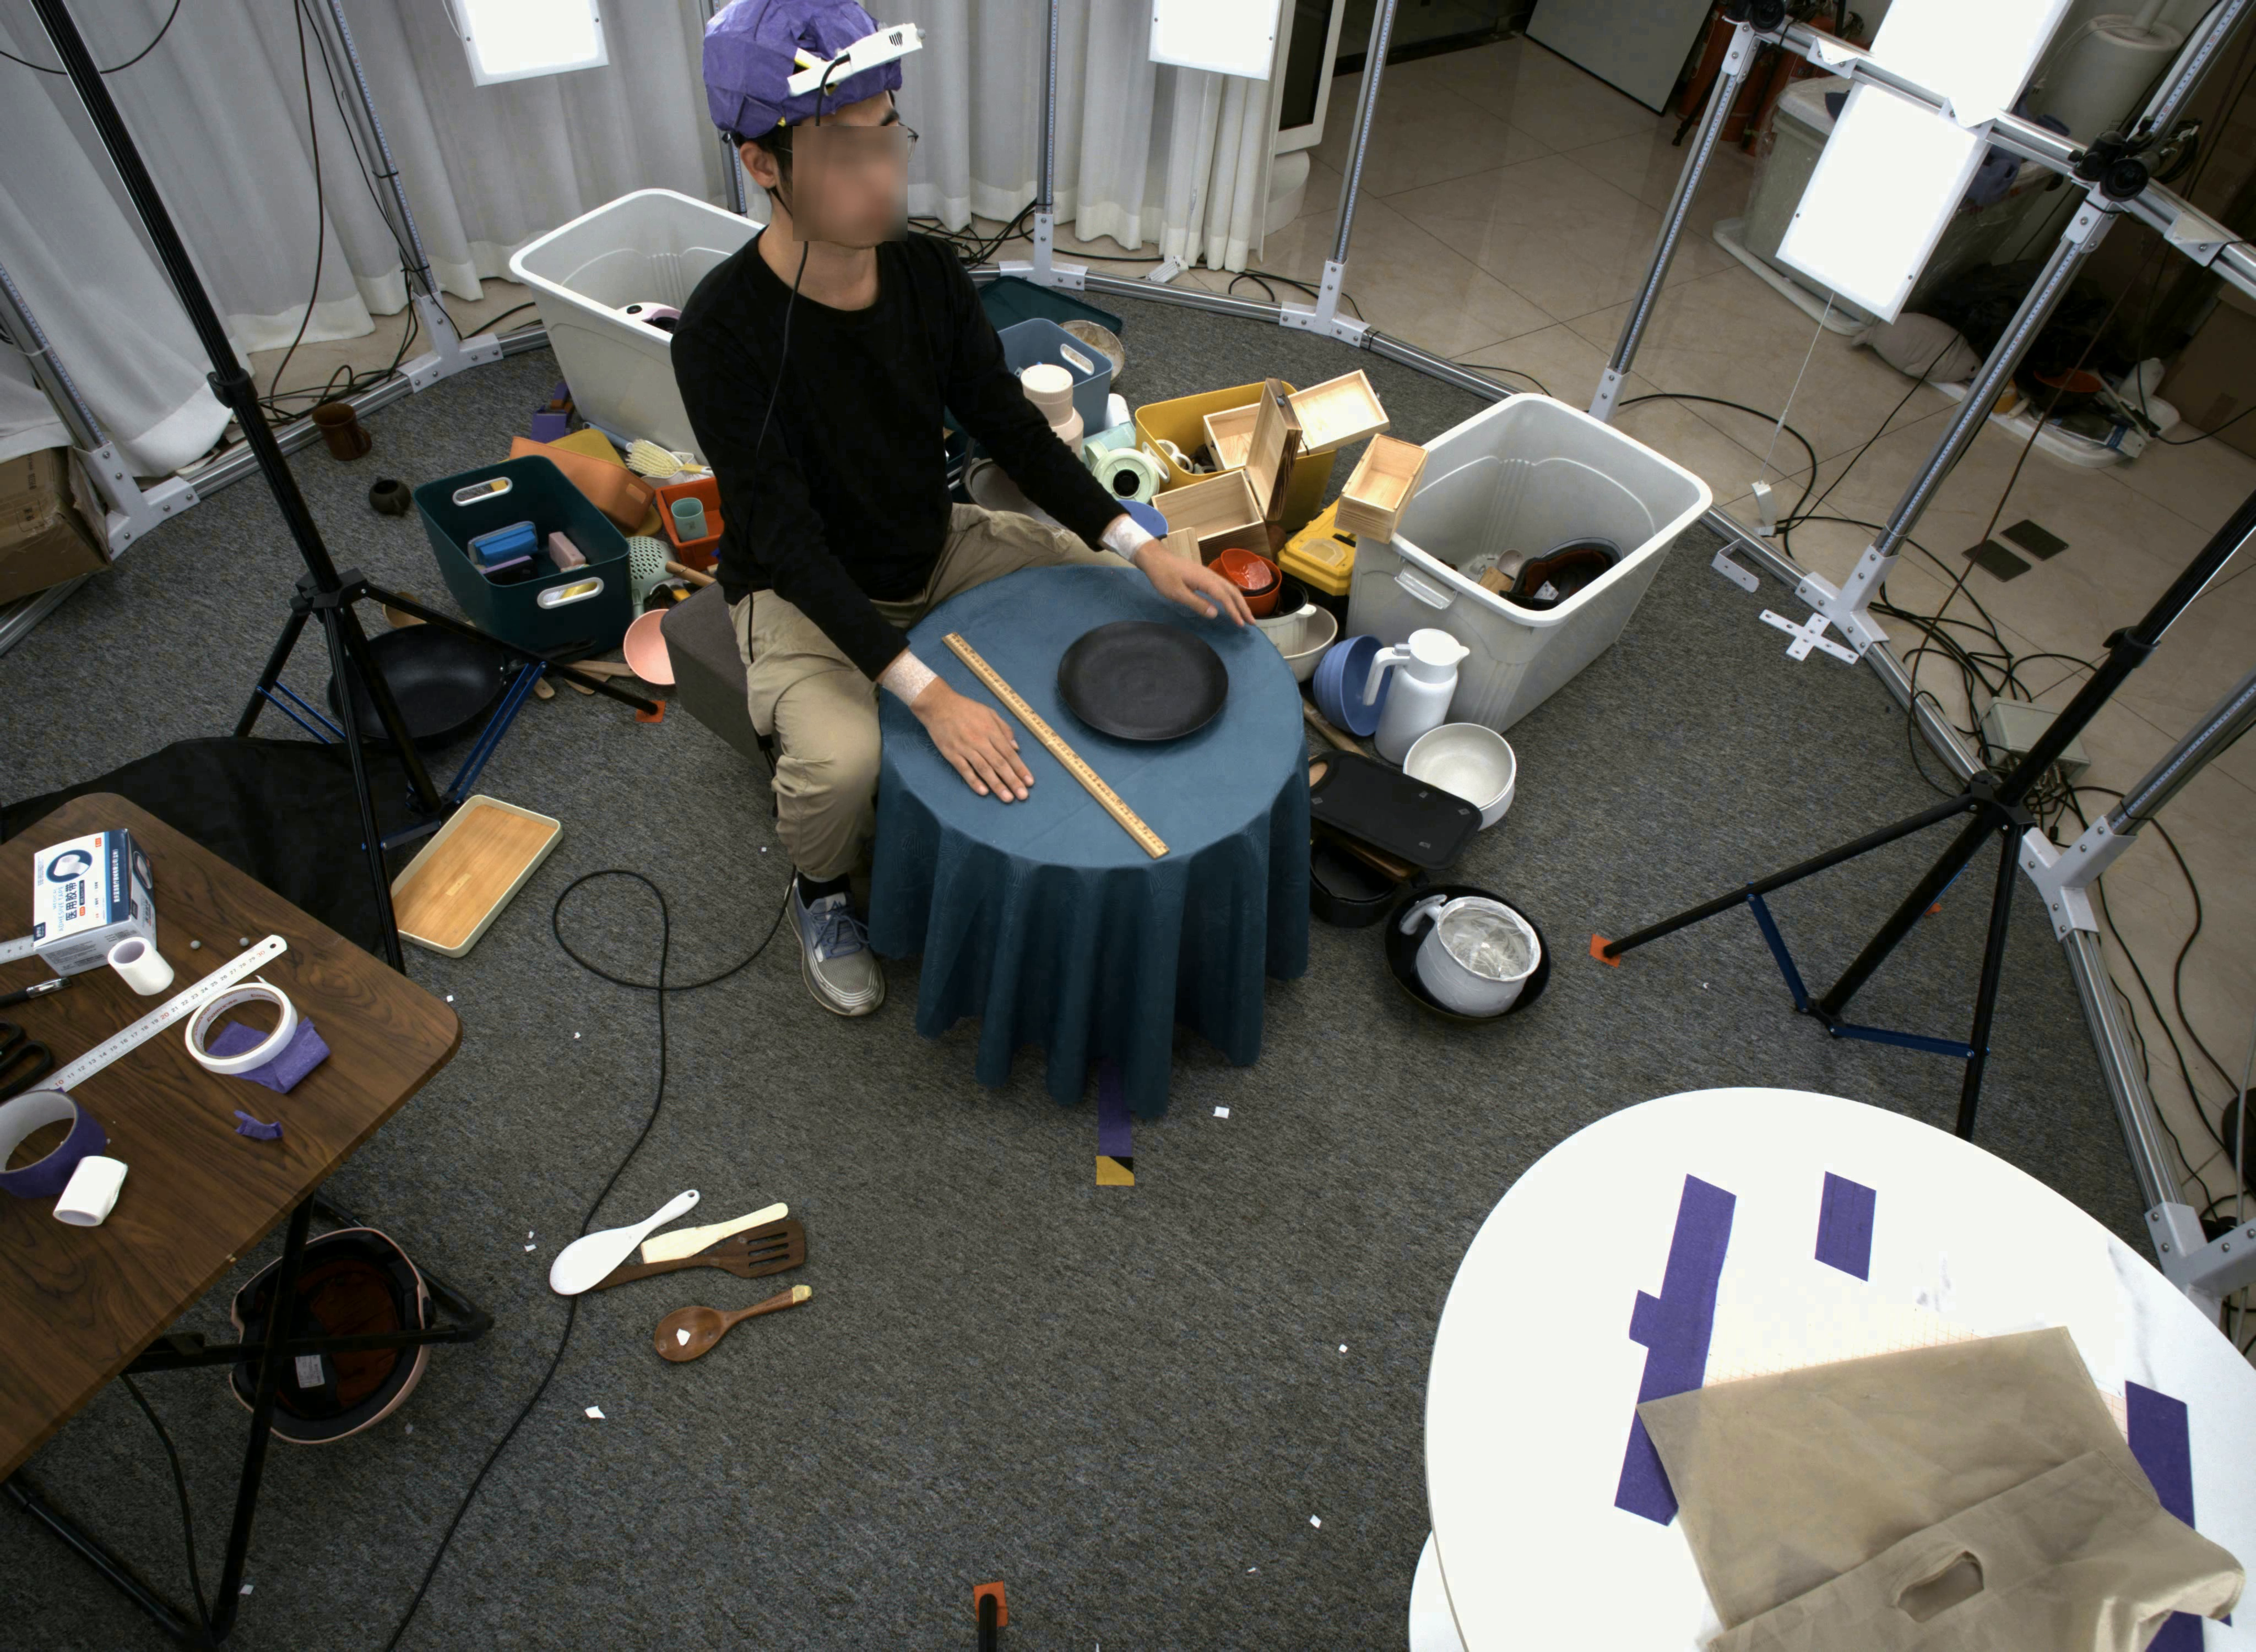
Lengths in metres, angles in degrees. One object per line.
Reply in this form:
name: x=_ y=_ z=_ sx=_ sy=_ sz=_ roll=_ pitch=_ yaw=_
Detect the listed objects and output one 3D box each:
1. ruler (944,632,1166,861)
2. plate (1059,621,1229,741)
ruler: x=-0.109 y=-0.122 z=1.765 sx=0.027 sy=0.006 sz=0.510 roll=-27 pitch=56 yaw=-26
plate: x=0.022 y=-0.206 z=1.835 sx=0.244 sy=0.023 sz=0.250 roll=2 pitch=49 yaw=-2
